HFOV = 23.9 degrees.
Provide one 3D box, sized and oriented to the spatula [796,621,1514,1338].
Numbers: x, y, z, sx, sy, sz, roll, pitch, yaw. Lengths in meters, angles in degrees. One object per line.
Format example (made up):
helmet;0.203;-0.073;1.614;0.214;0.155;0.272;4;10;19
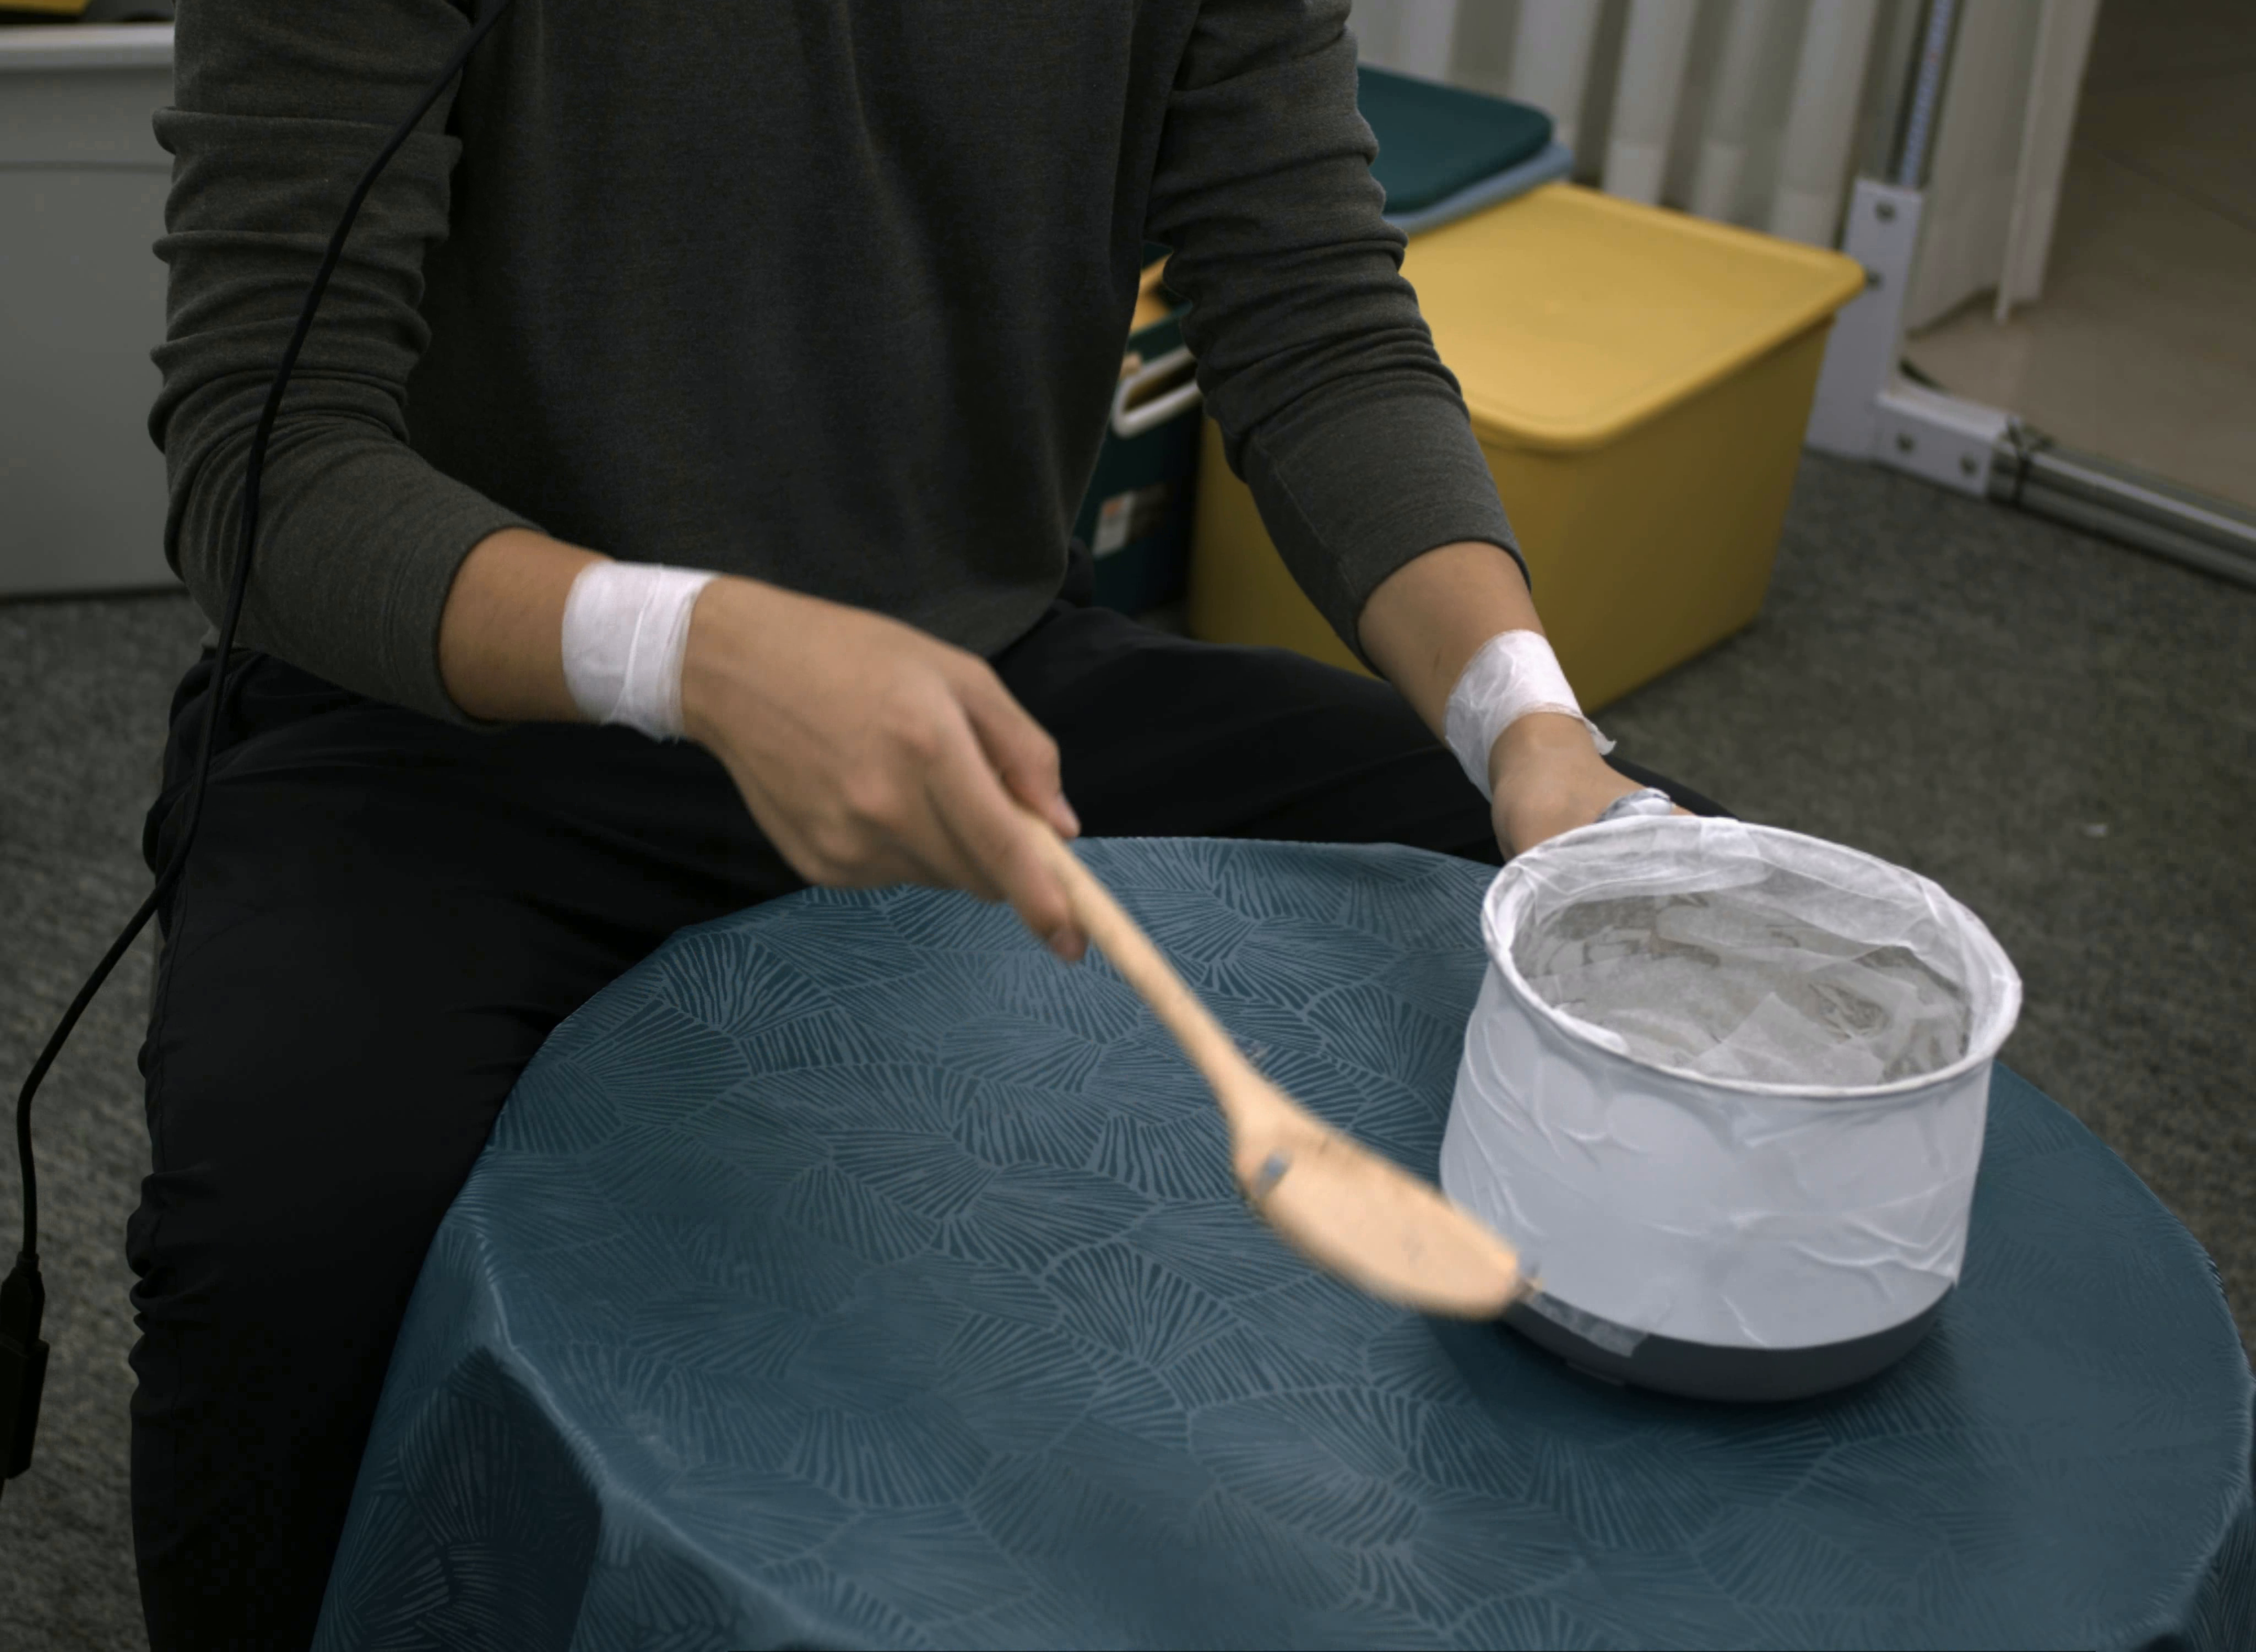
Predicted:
spatula;-0.011;0.041;1.676;0.095;0.018;0.394;10;29;-42

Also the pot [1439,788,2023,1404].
pot;0.187;0.082;1.776;0.177;0.136;0.236;-2;29;-16
